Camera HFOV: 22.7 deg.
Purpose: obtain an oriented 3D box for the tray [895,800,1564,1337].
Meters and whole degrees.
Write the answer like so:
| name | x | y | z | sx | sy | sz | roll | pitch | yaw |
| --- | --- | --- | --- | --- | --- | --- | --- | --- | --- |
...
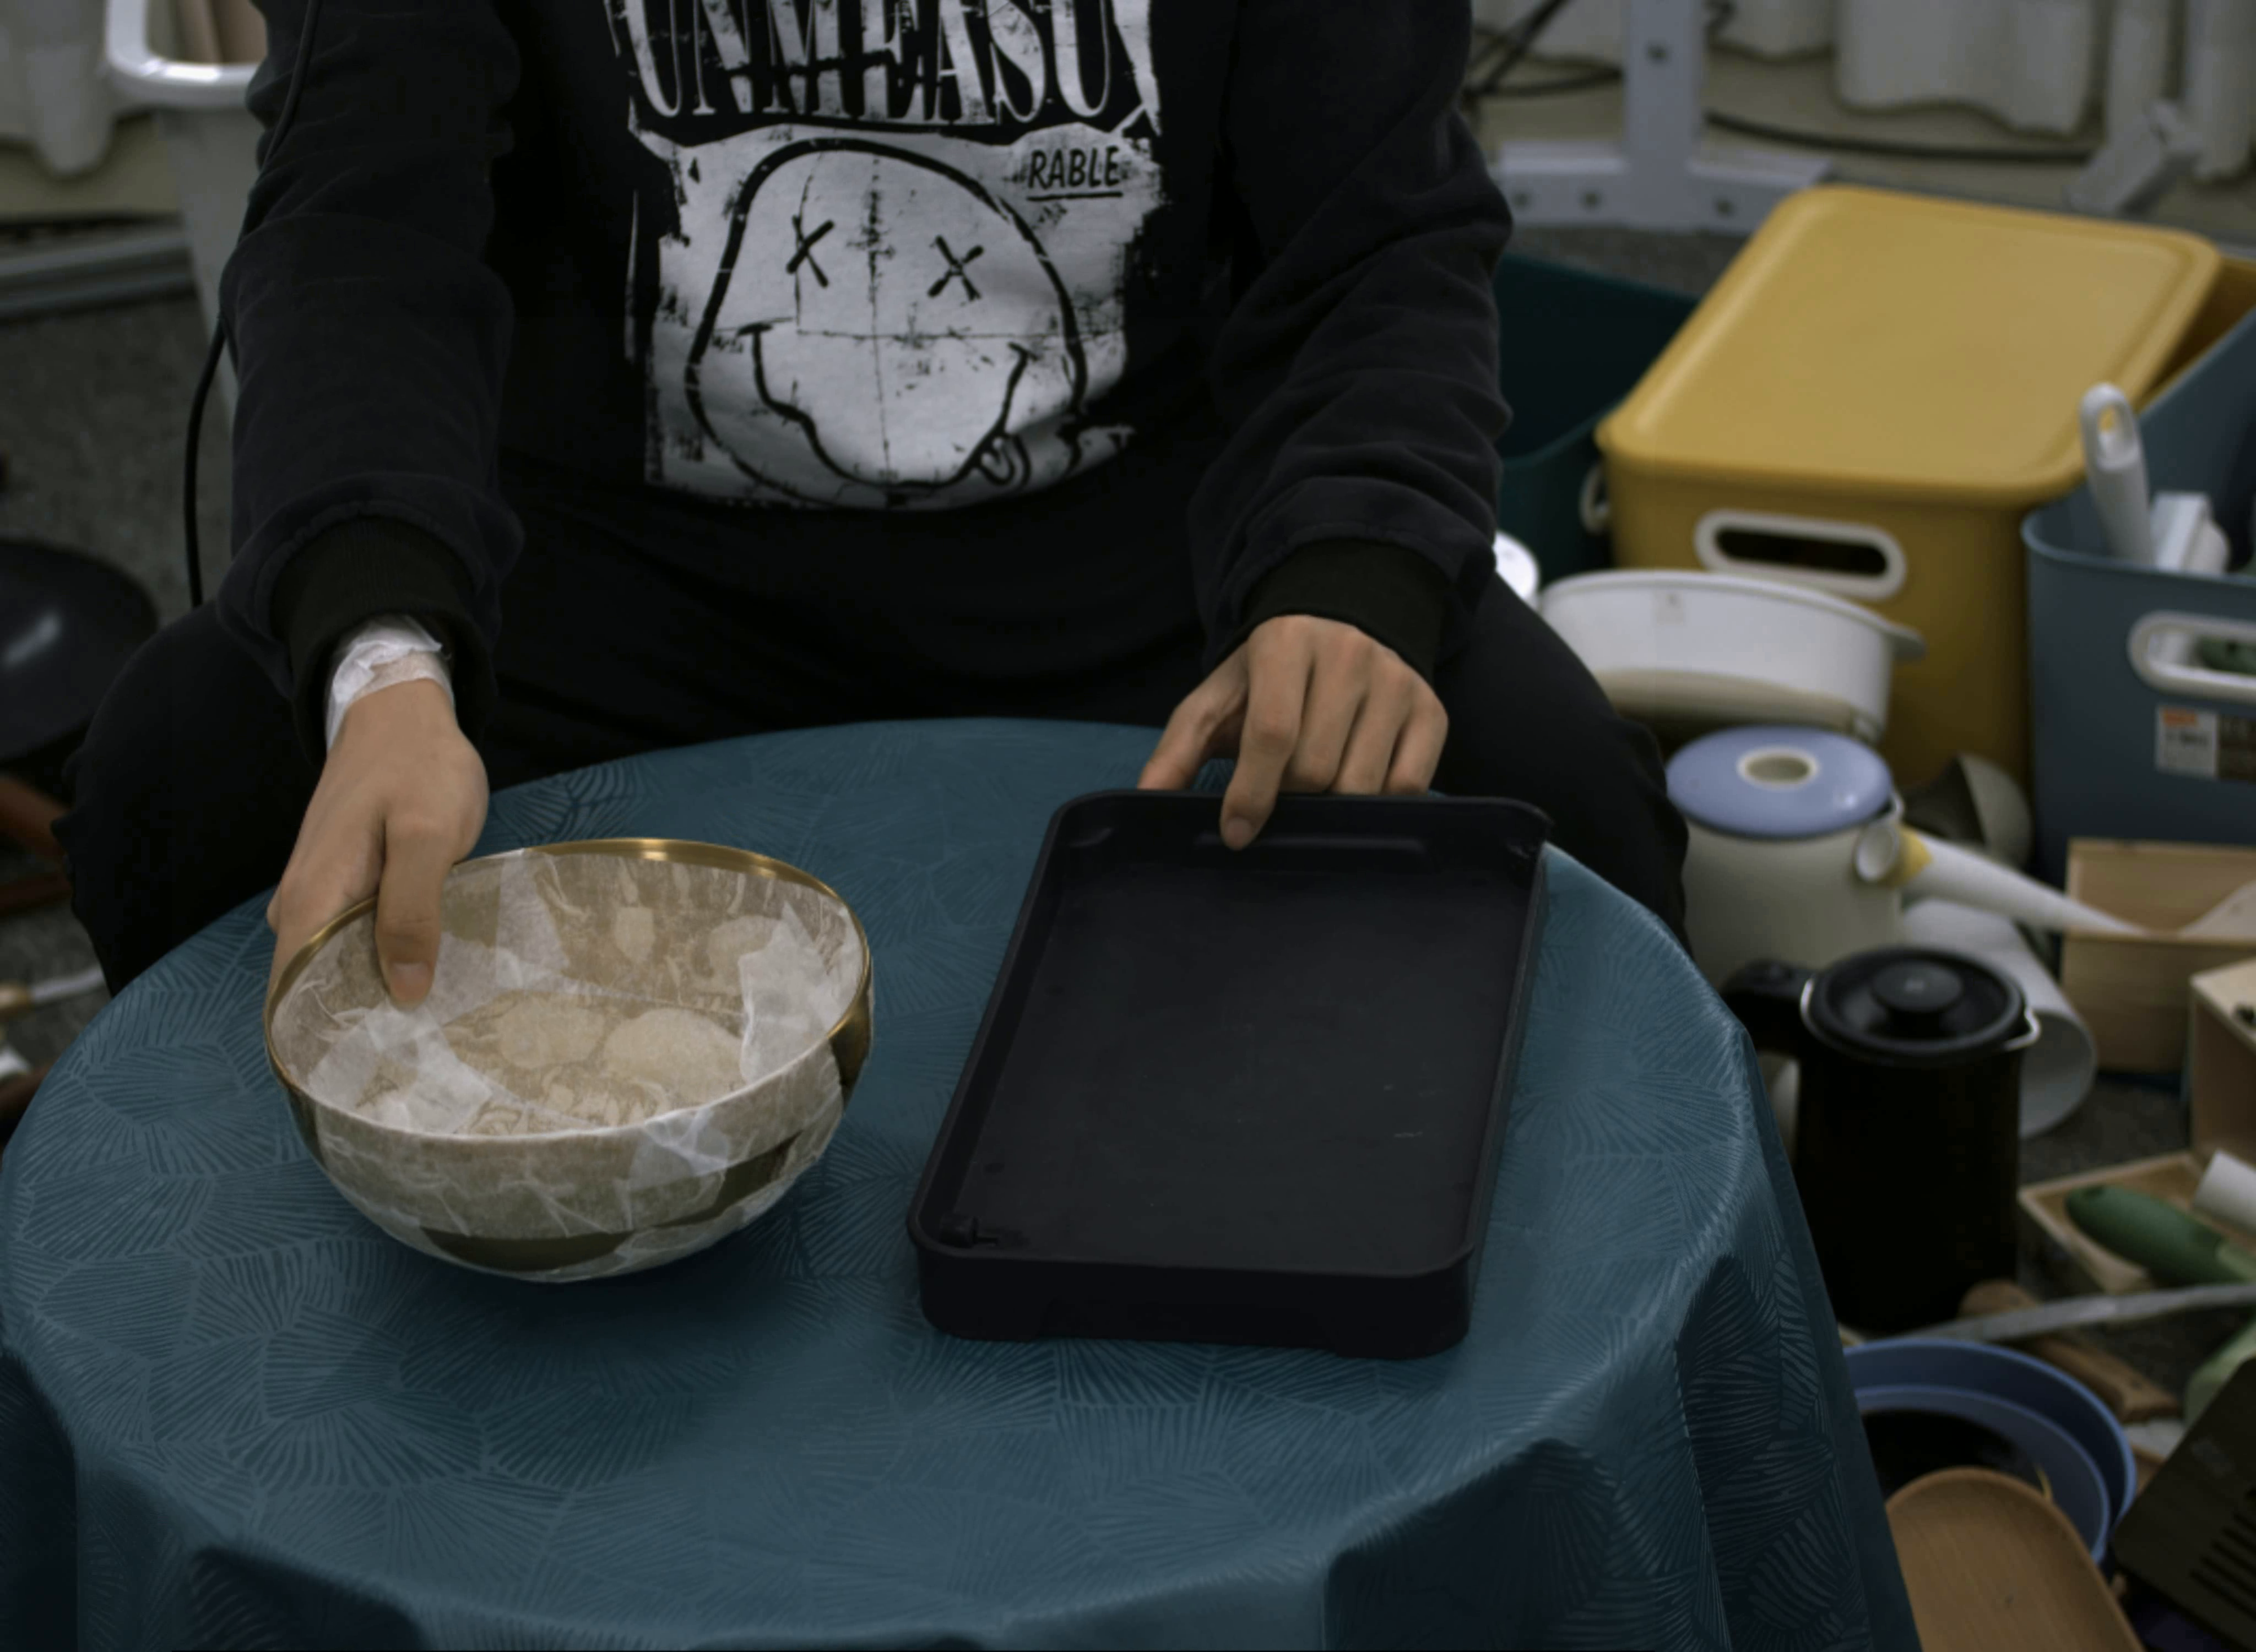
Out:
| name | x | y | z | sx | sy | sz | roll | pitch | yaw |
| --- | --- | --- | --- | --- | --- | --- | --- | --- | --- |
| tray | 0.042 | 0.075 | 1.901 | 0.183 | 0.036 | 0.323 | 1 | 26 | 11 |

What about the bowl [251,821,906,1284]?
| name | x | y | z | sx | sy | sz | roll | pitch | yaw |
| --- | --- | --- | --- | --- | --- | --- | --- | --- | --- |
| bowl | -0.176 | 0.087 | 1.845 | 0.213 | 0.093 | 0.218 | -4 | 27 | 3 |
